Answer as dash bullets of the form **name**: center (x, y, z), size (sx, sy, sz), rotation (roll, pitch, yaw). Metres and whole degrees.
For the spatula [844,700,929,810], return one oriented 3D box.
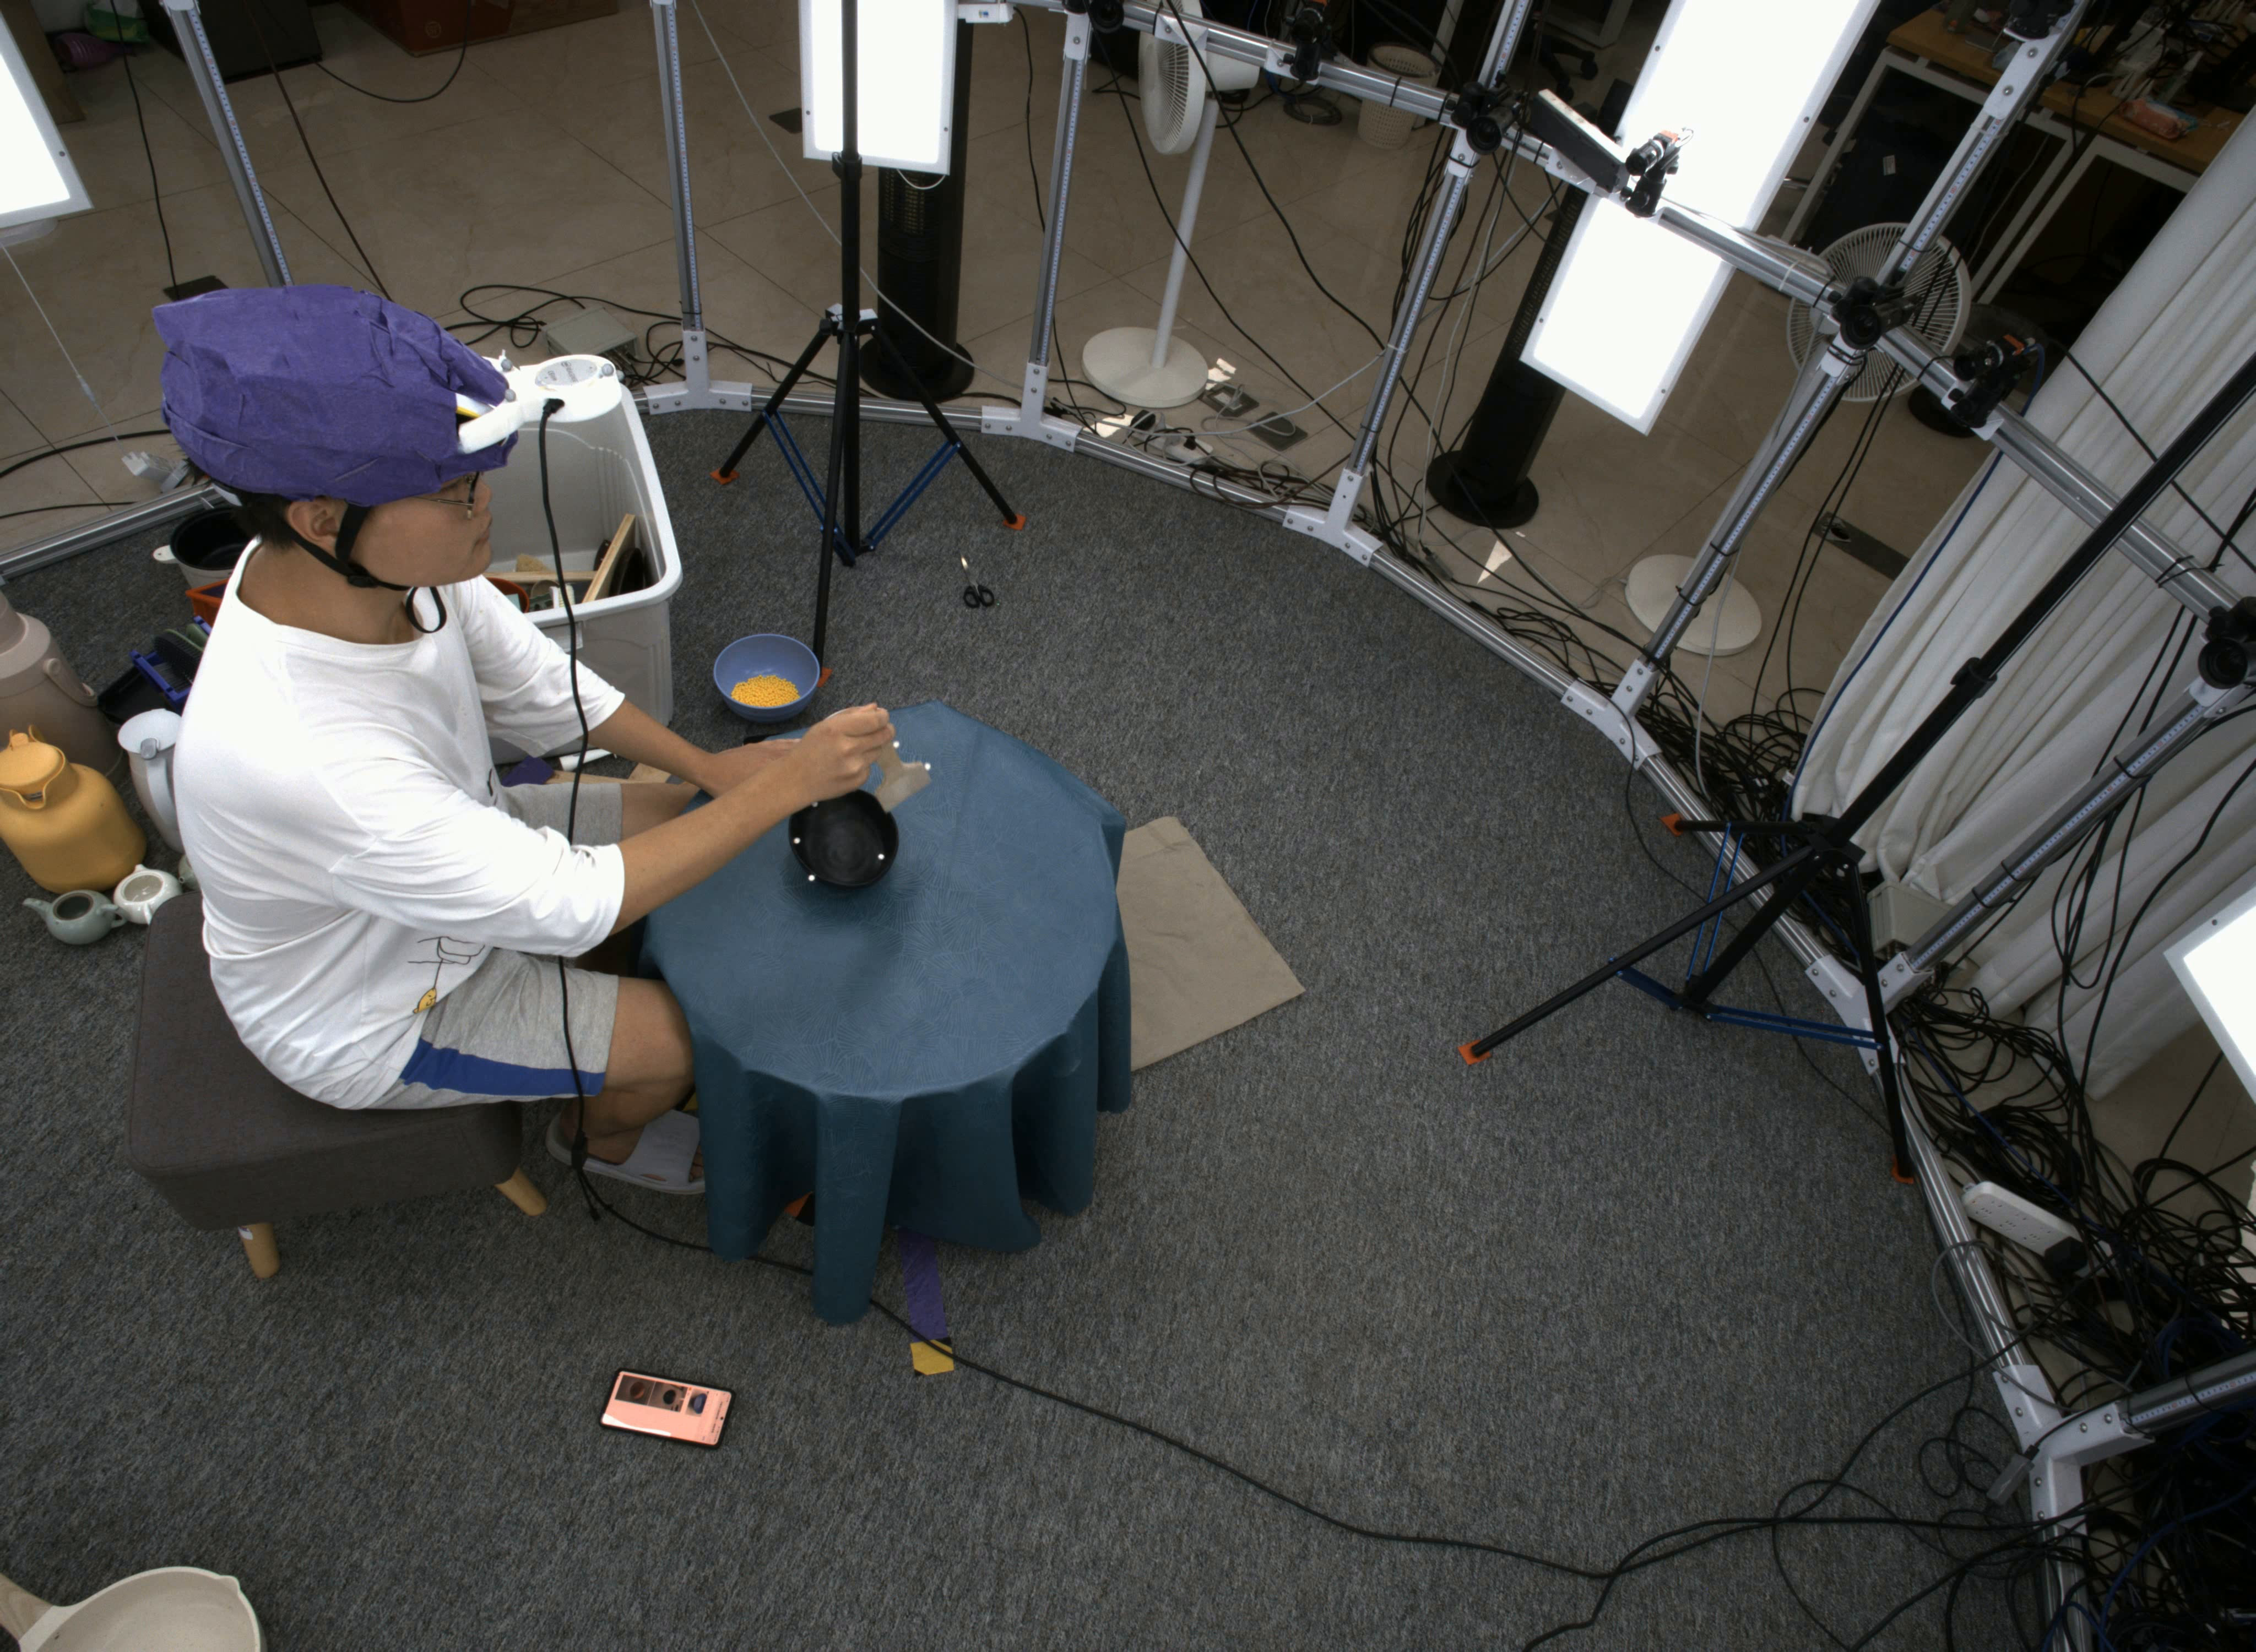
- **spatula**: center (-0.285, -0.084, 1.519), size (0.072, 0.297, 0.010), rotation (-36, 75, -9)

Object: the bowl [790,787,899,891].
- **bowl**: center (-0.368, 0.024, 1.689), size (0.138, 0.068, 0.166), rotation (-14, 56, -21)
